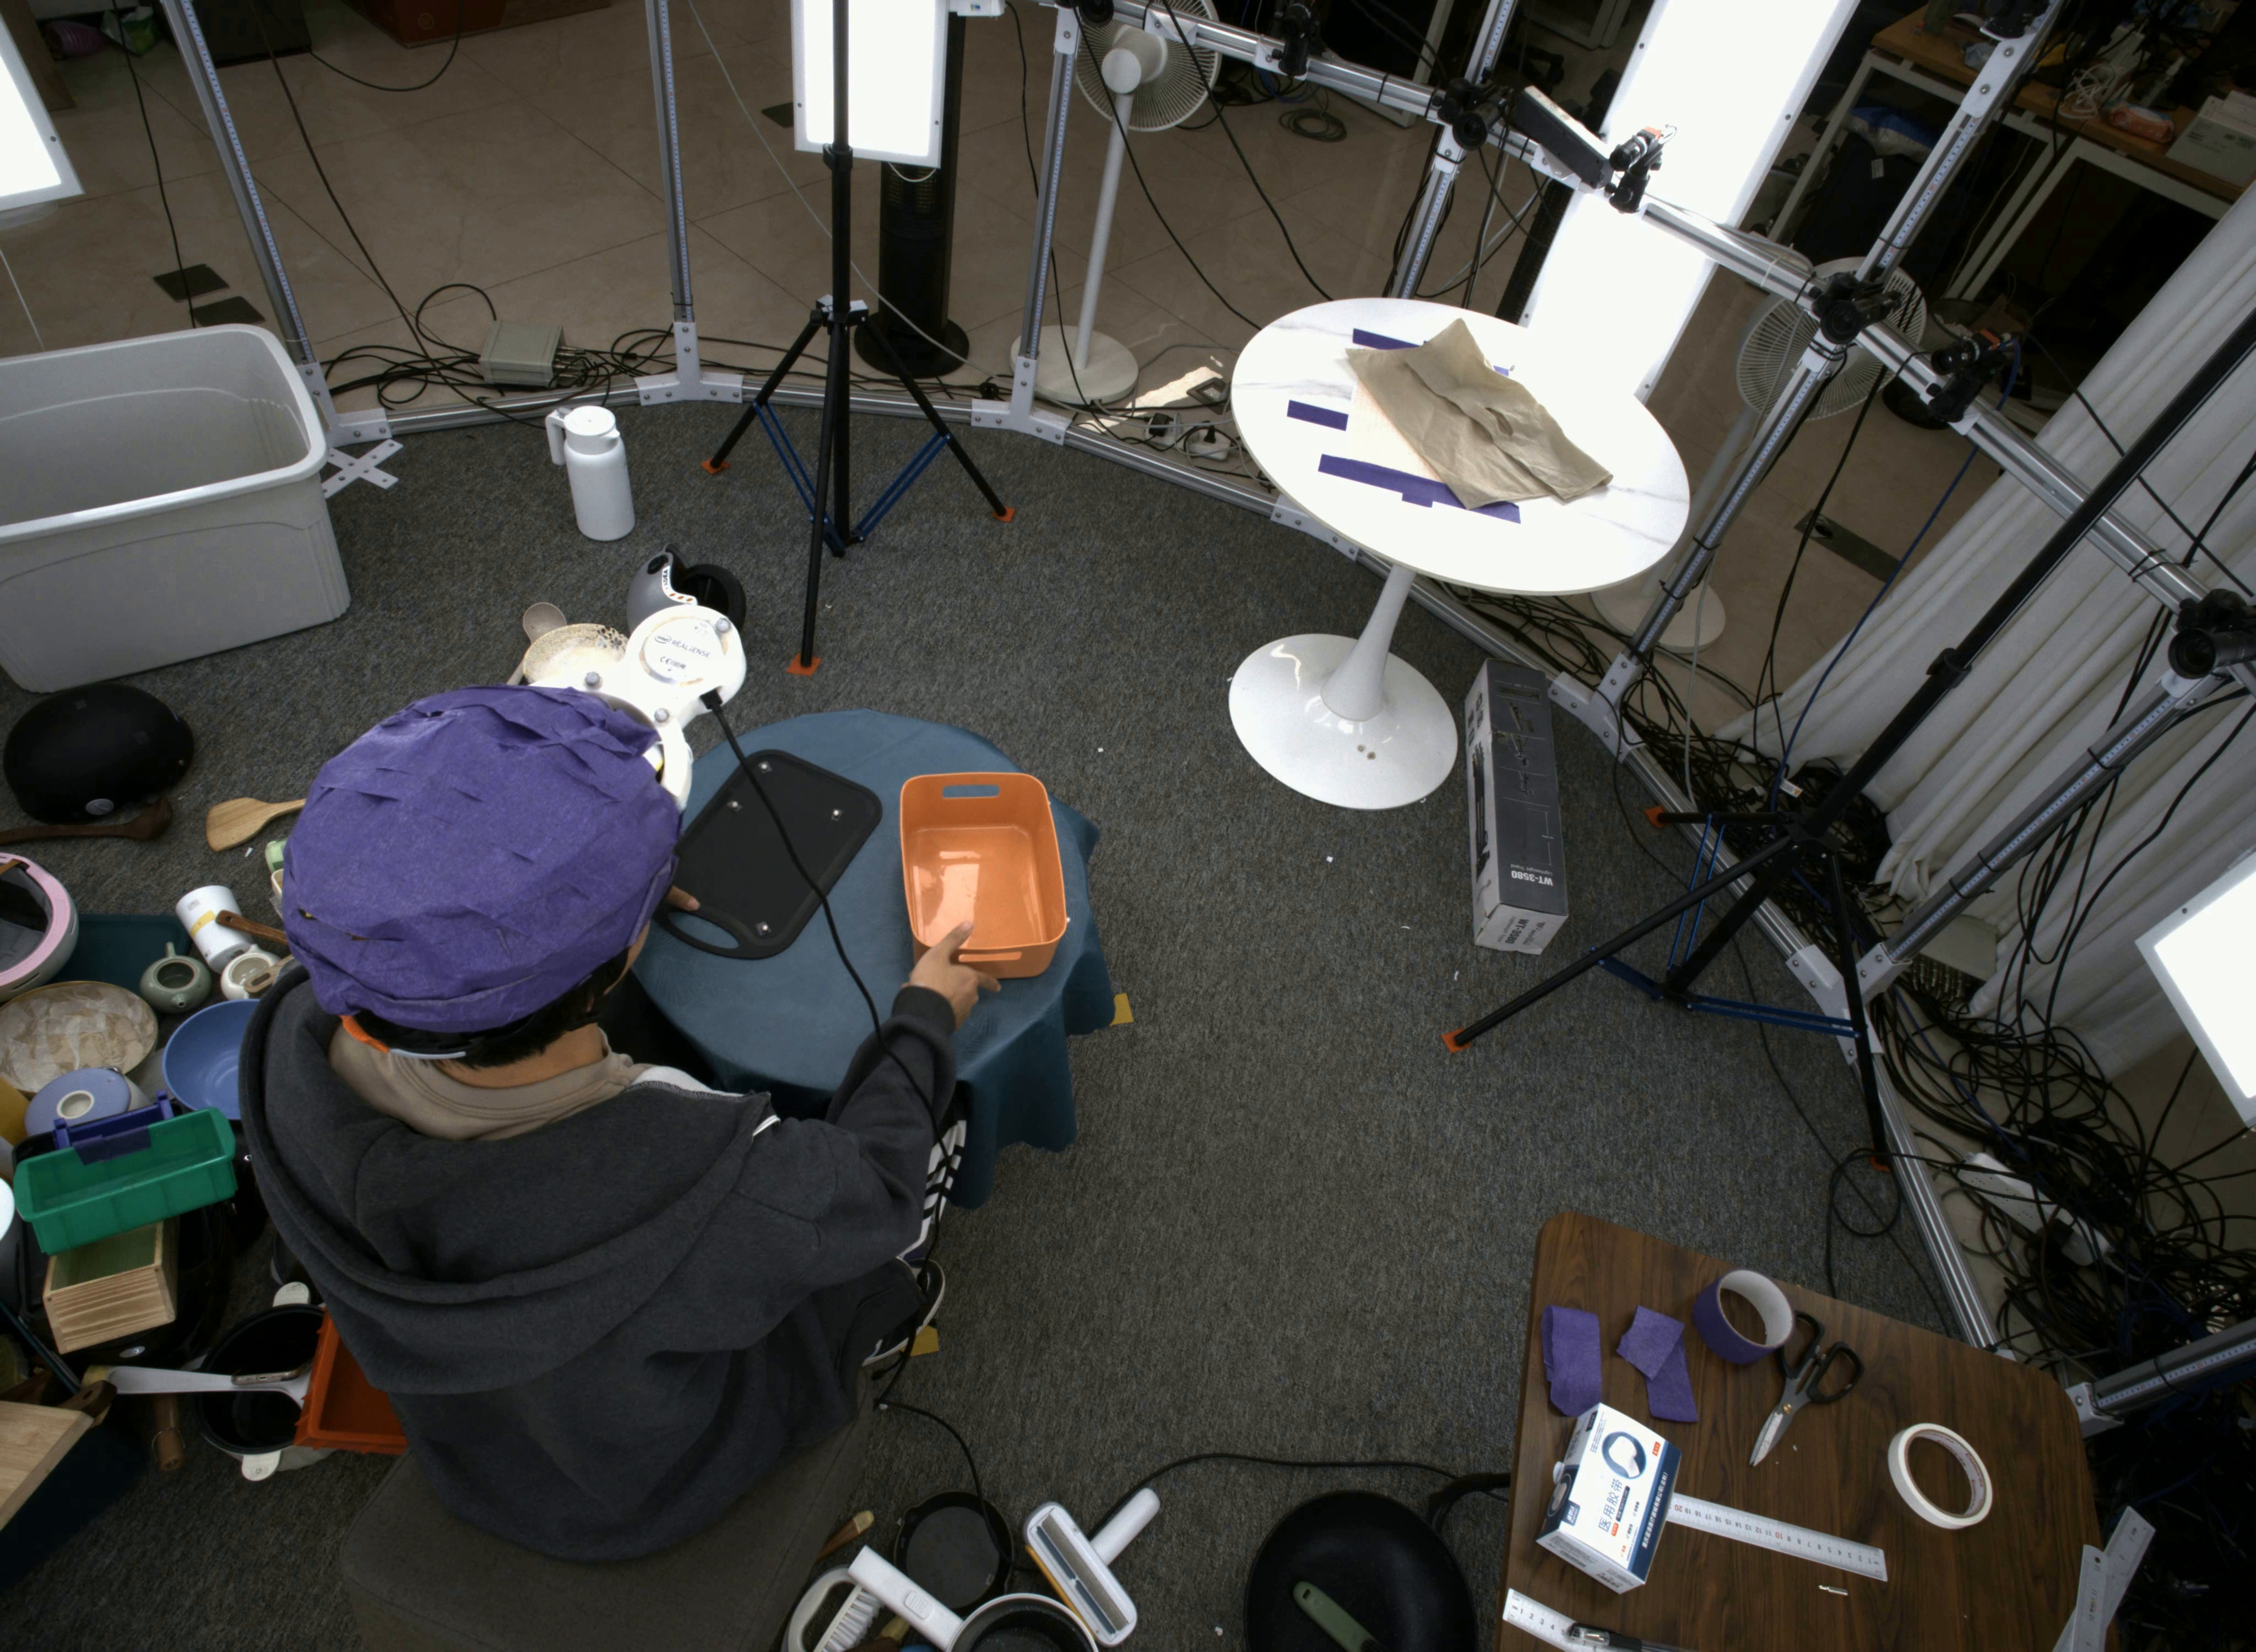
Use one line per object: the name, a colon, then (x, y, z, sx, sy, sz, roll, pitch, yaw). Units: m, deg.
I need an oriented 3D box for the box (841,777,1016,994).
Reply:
box: (-0.257, 0.077, 1.647, 0.200, 0.104, 0.267, -5, 55, -17)

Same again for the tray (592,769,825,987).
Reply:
tray: (-0.538, 0.061, 1.650, 0.209, 0.010, 0.322, 21, 52, 2)
